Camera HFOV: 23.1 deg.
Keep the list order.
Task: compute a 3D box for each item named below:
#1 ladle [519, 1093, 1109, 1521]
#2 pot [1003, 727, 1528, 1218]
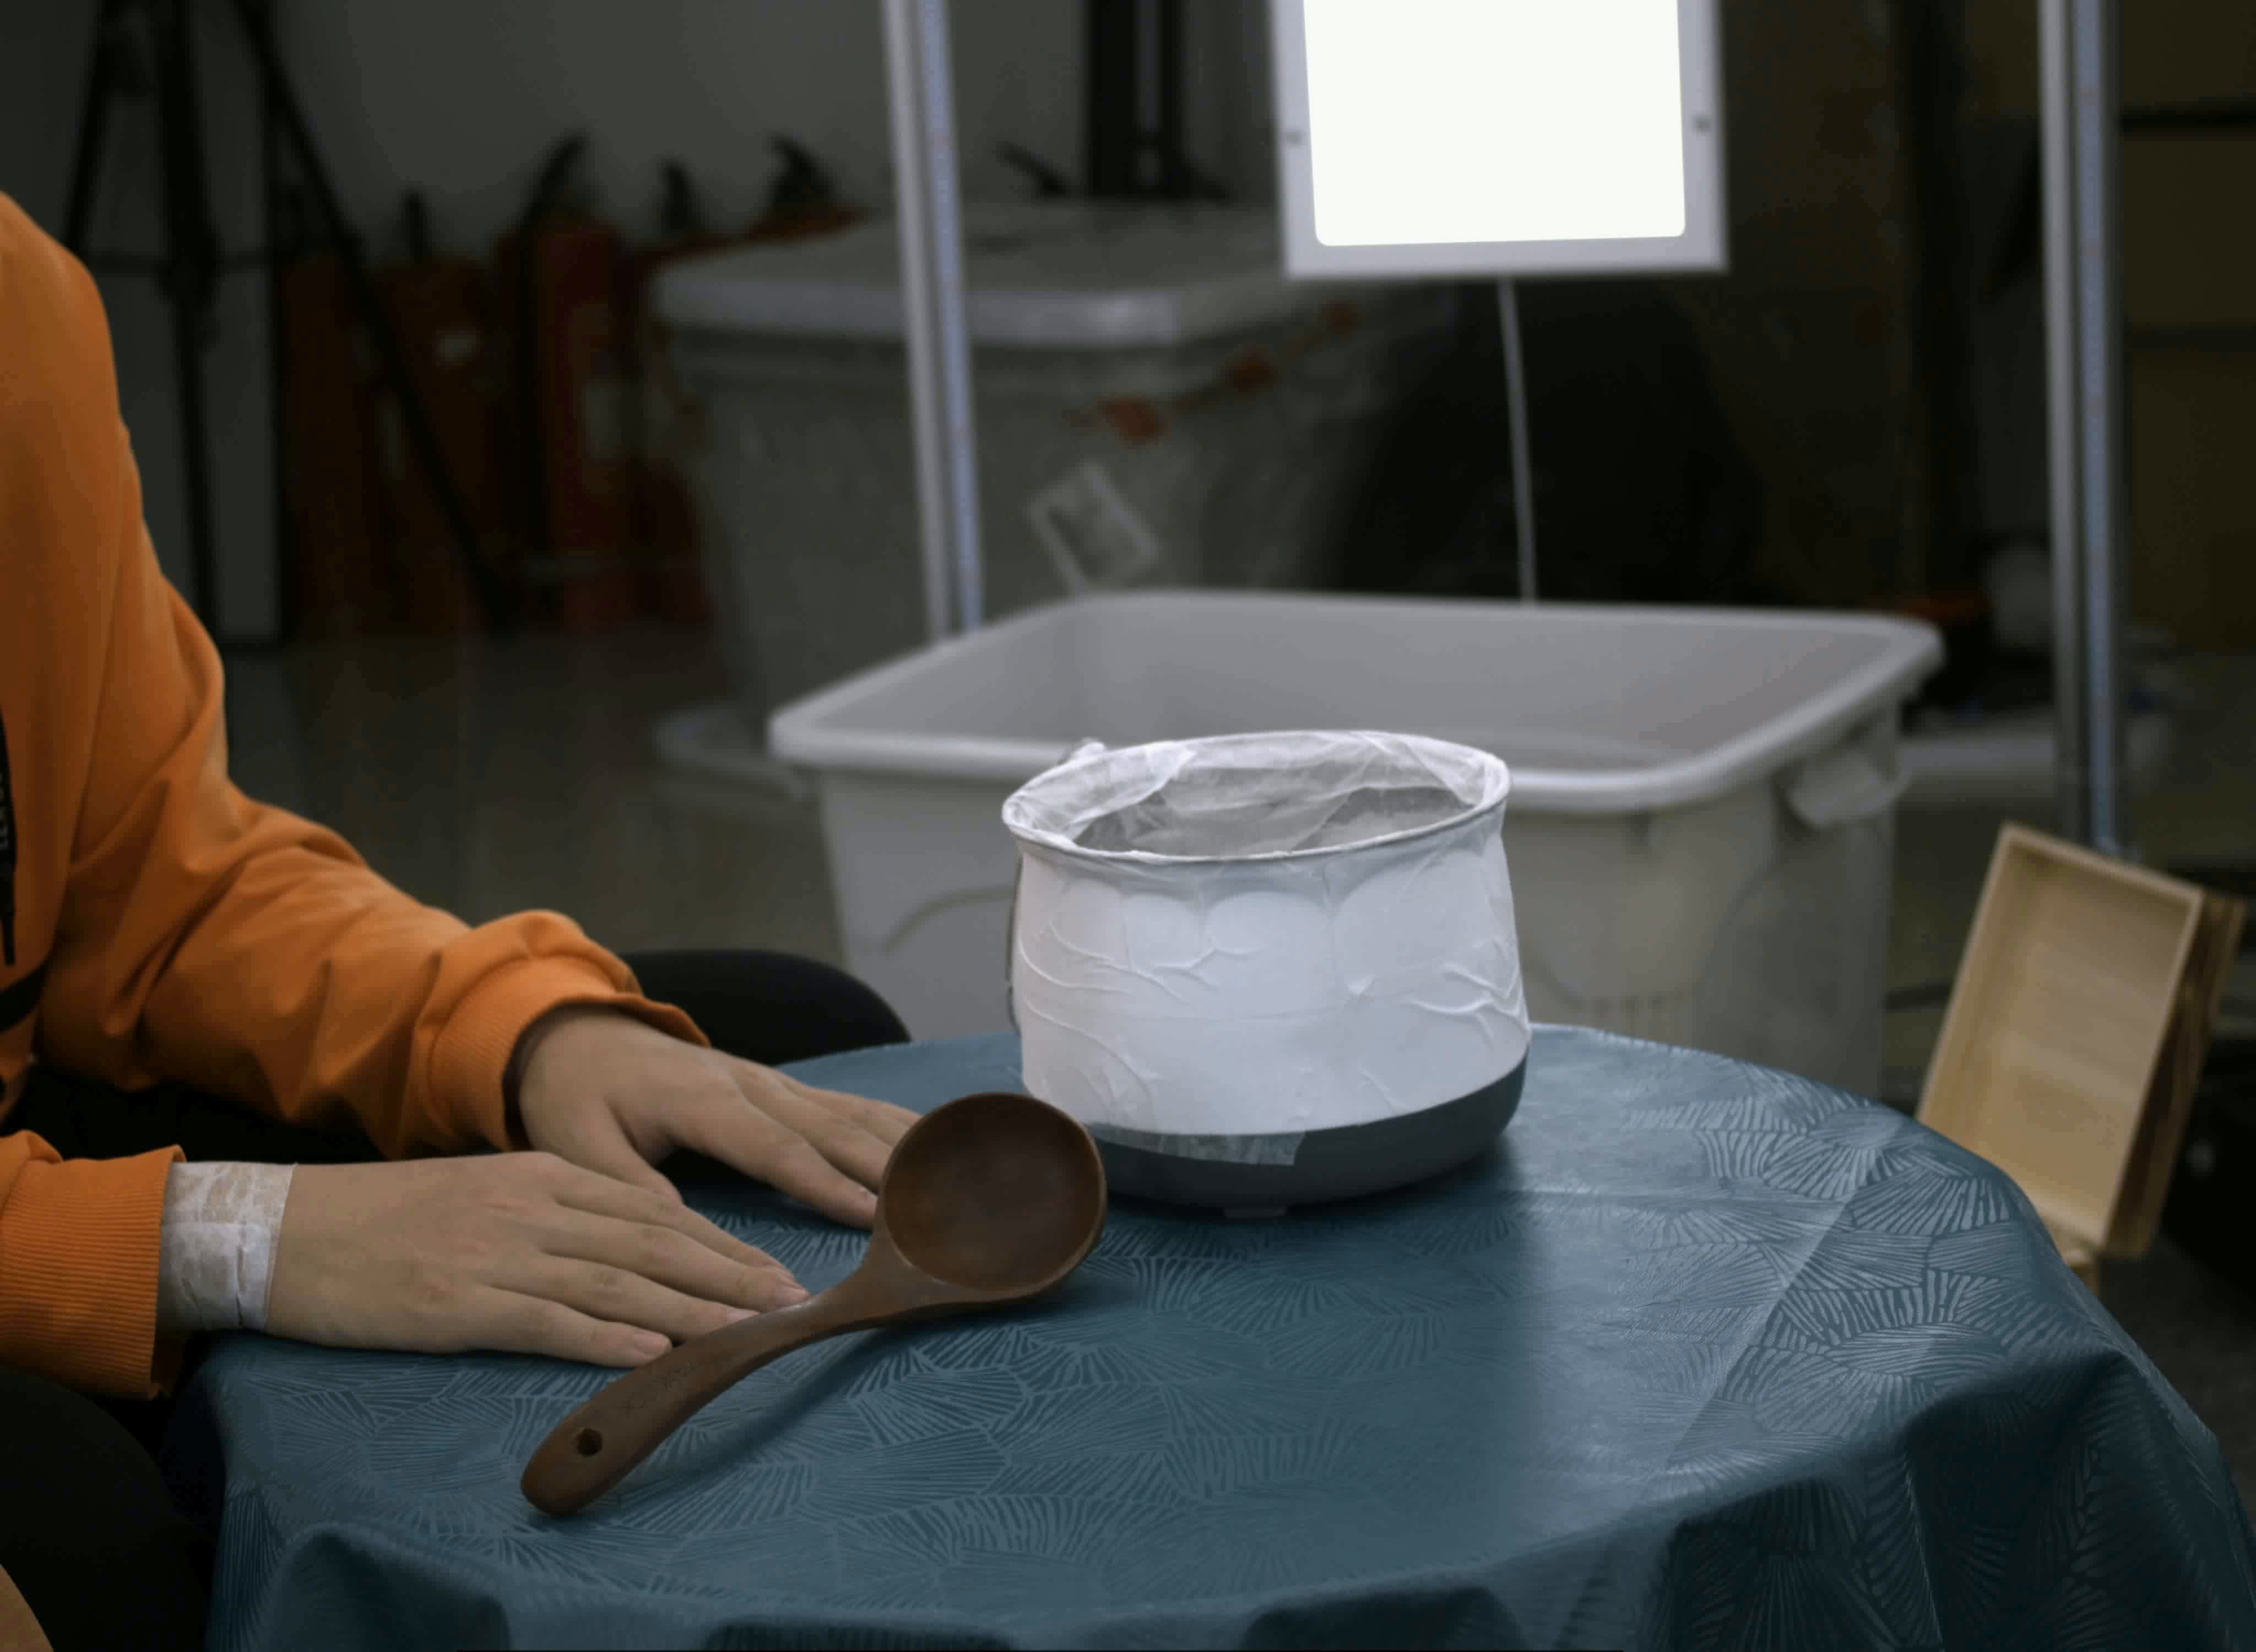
[{"bbox_3d":[-0.097,0.147,1.721,0.077,0.066,0.254,32,30,24],"label":"ladle"},{"bbox_3d":[0.032,0.045,1.927,0.174,0.137,0.238,-14,17,-35],"label":"pot"}]
